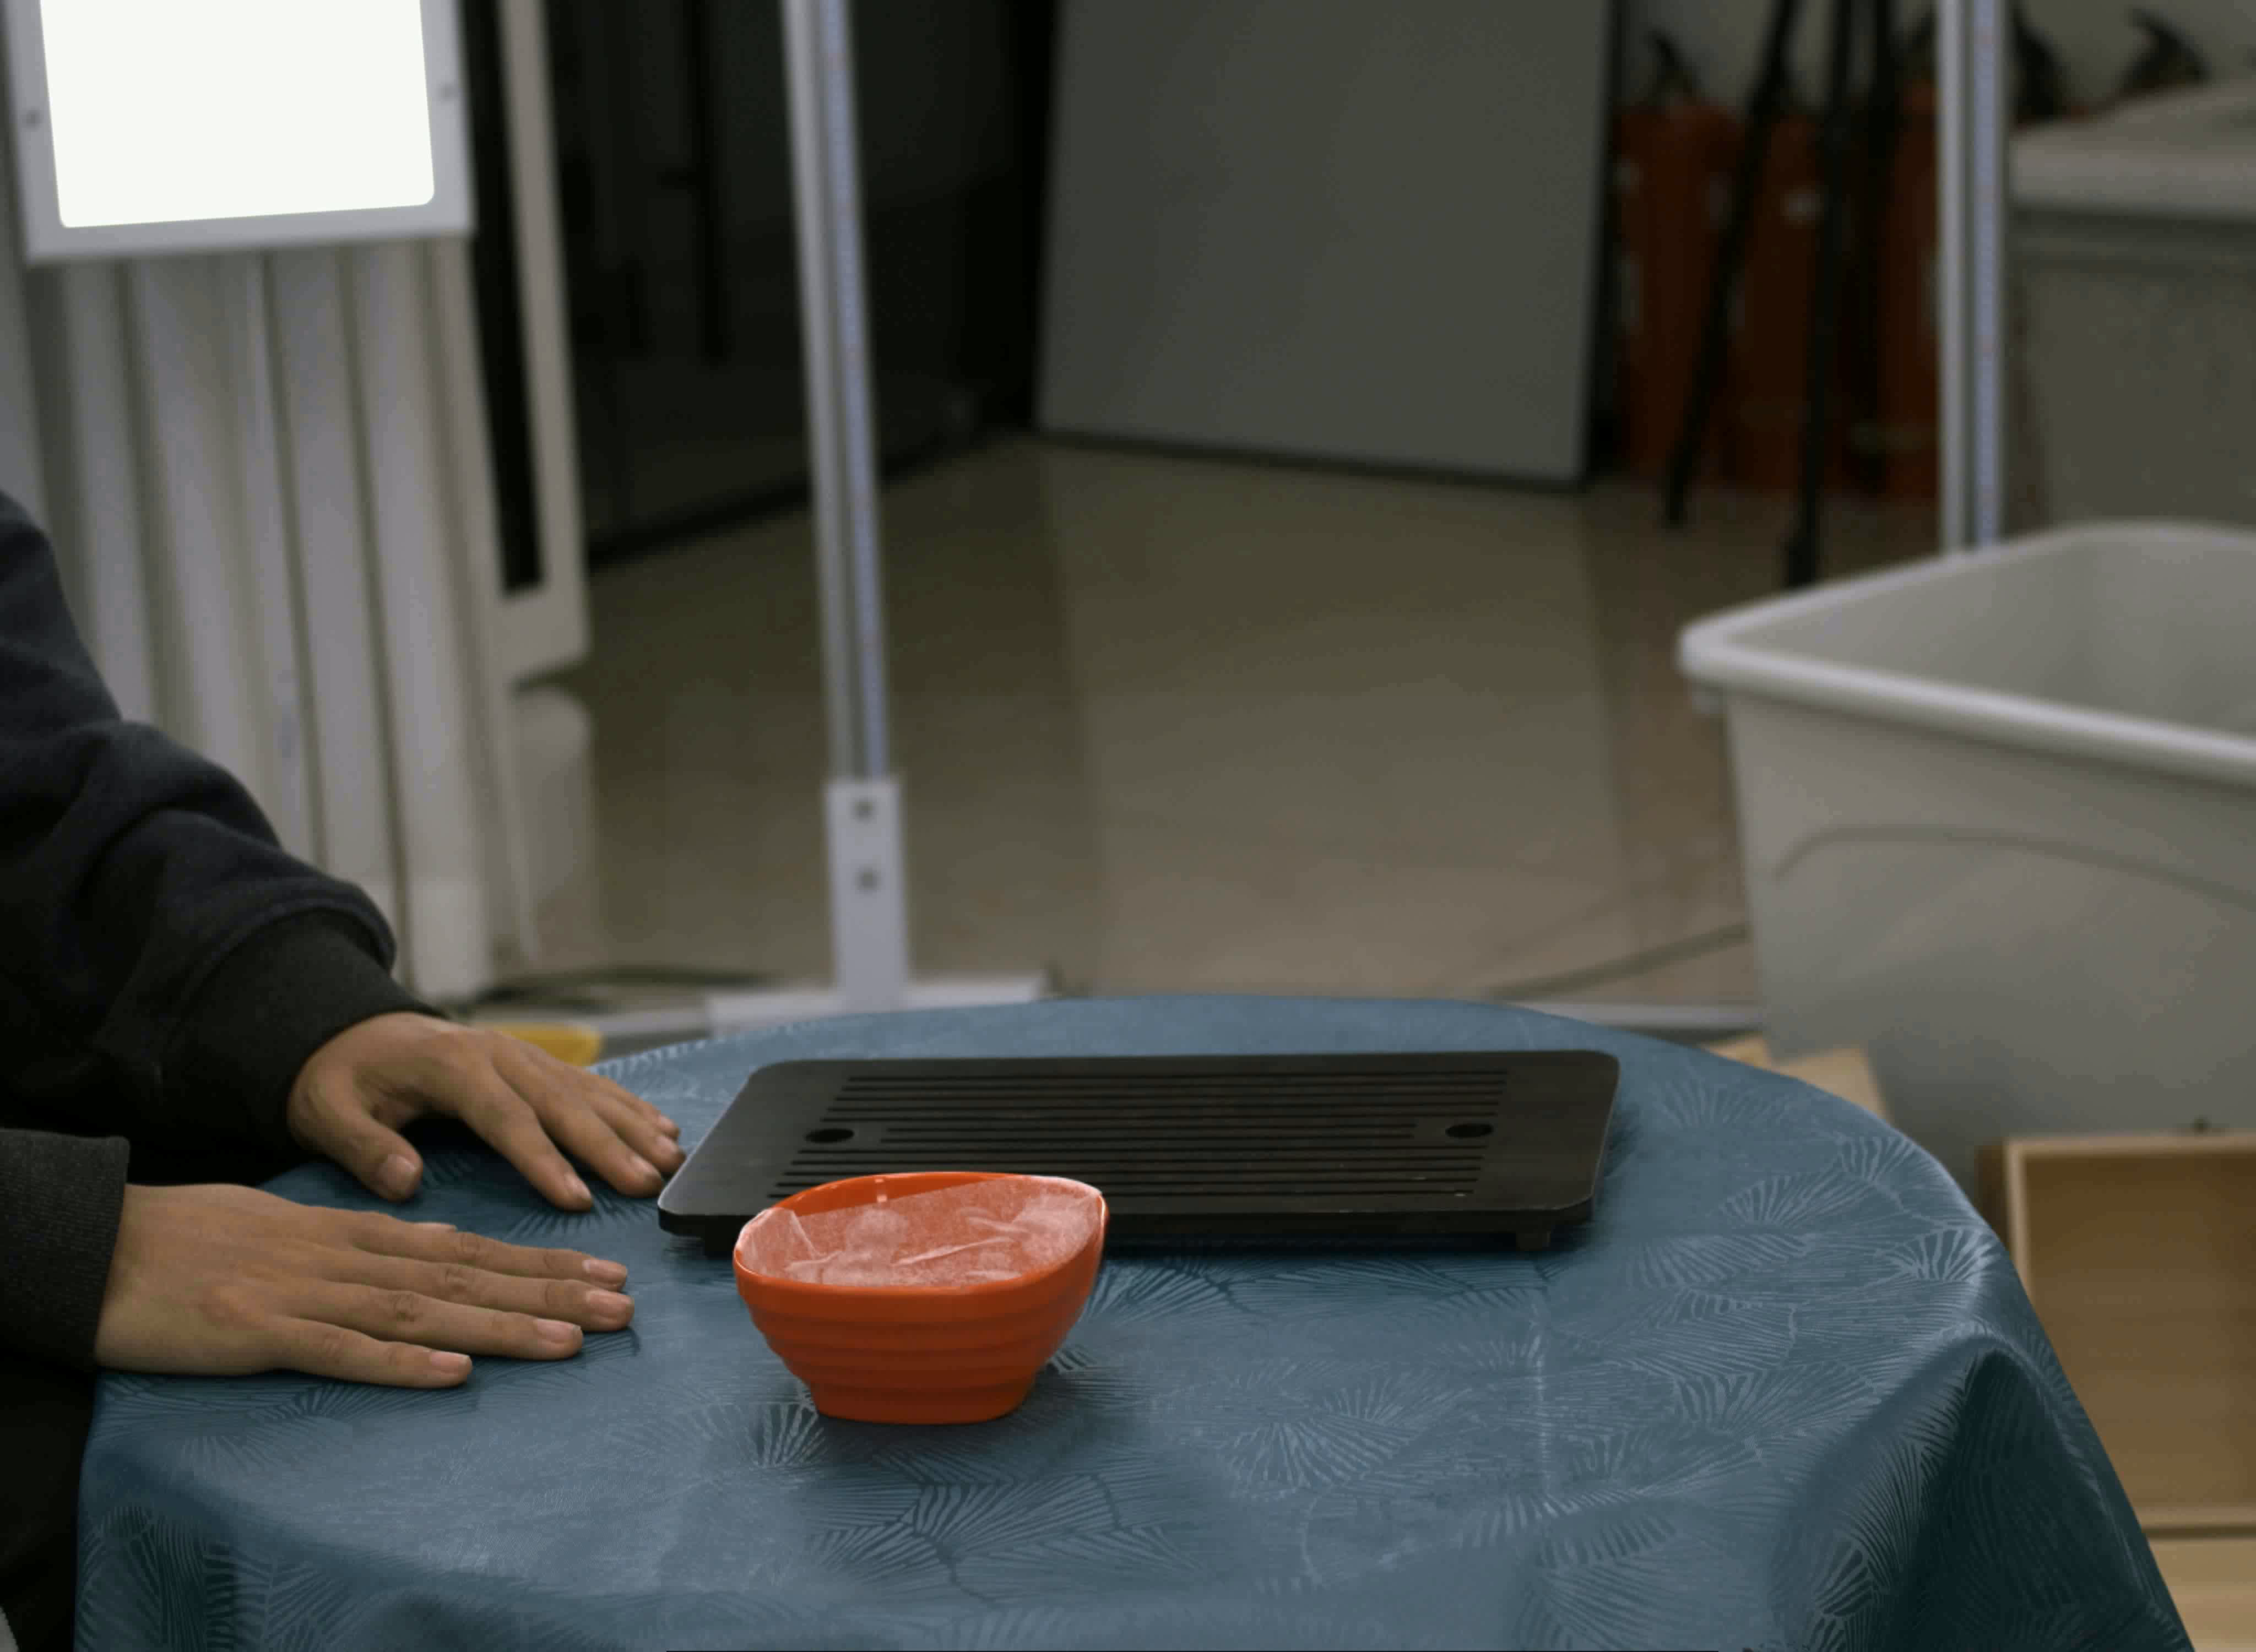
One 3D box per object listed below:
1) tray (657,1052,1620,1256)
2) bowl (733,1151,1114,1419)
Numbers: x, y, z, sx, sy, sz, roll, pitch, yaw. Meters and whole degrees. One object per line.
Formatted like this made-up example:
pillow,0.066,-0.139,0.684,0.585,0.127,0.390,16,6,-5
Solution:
tray,0.008,0.109,1.780,0.304,0.019,0.169,-2,14,11
bowl,-0.060,0.138,1.593,0.117,0.052,0.119,0,16,-1
